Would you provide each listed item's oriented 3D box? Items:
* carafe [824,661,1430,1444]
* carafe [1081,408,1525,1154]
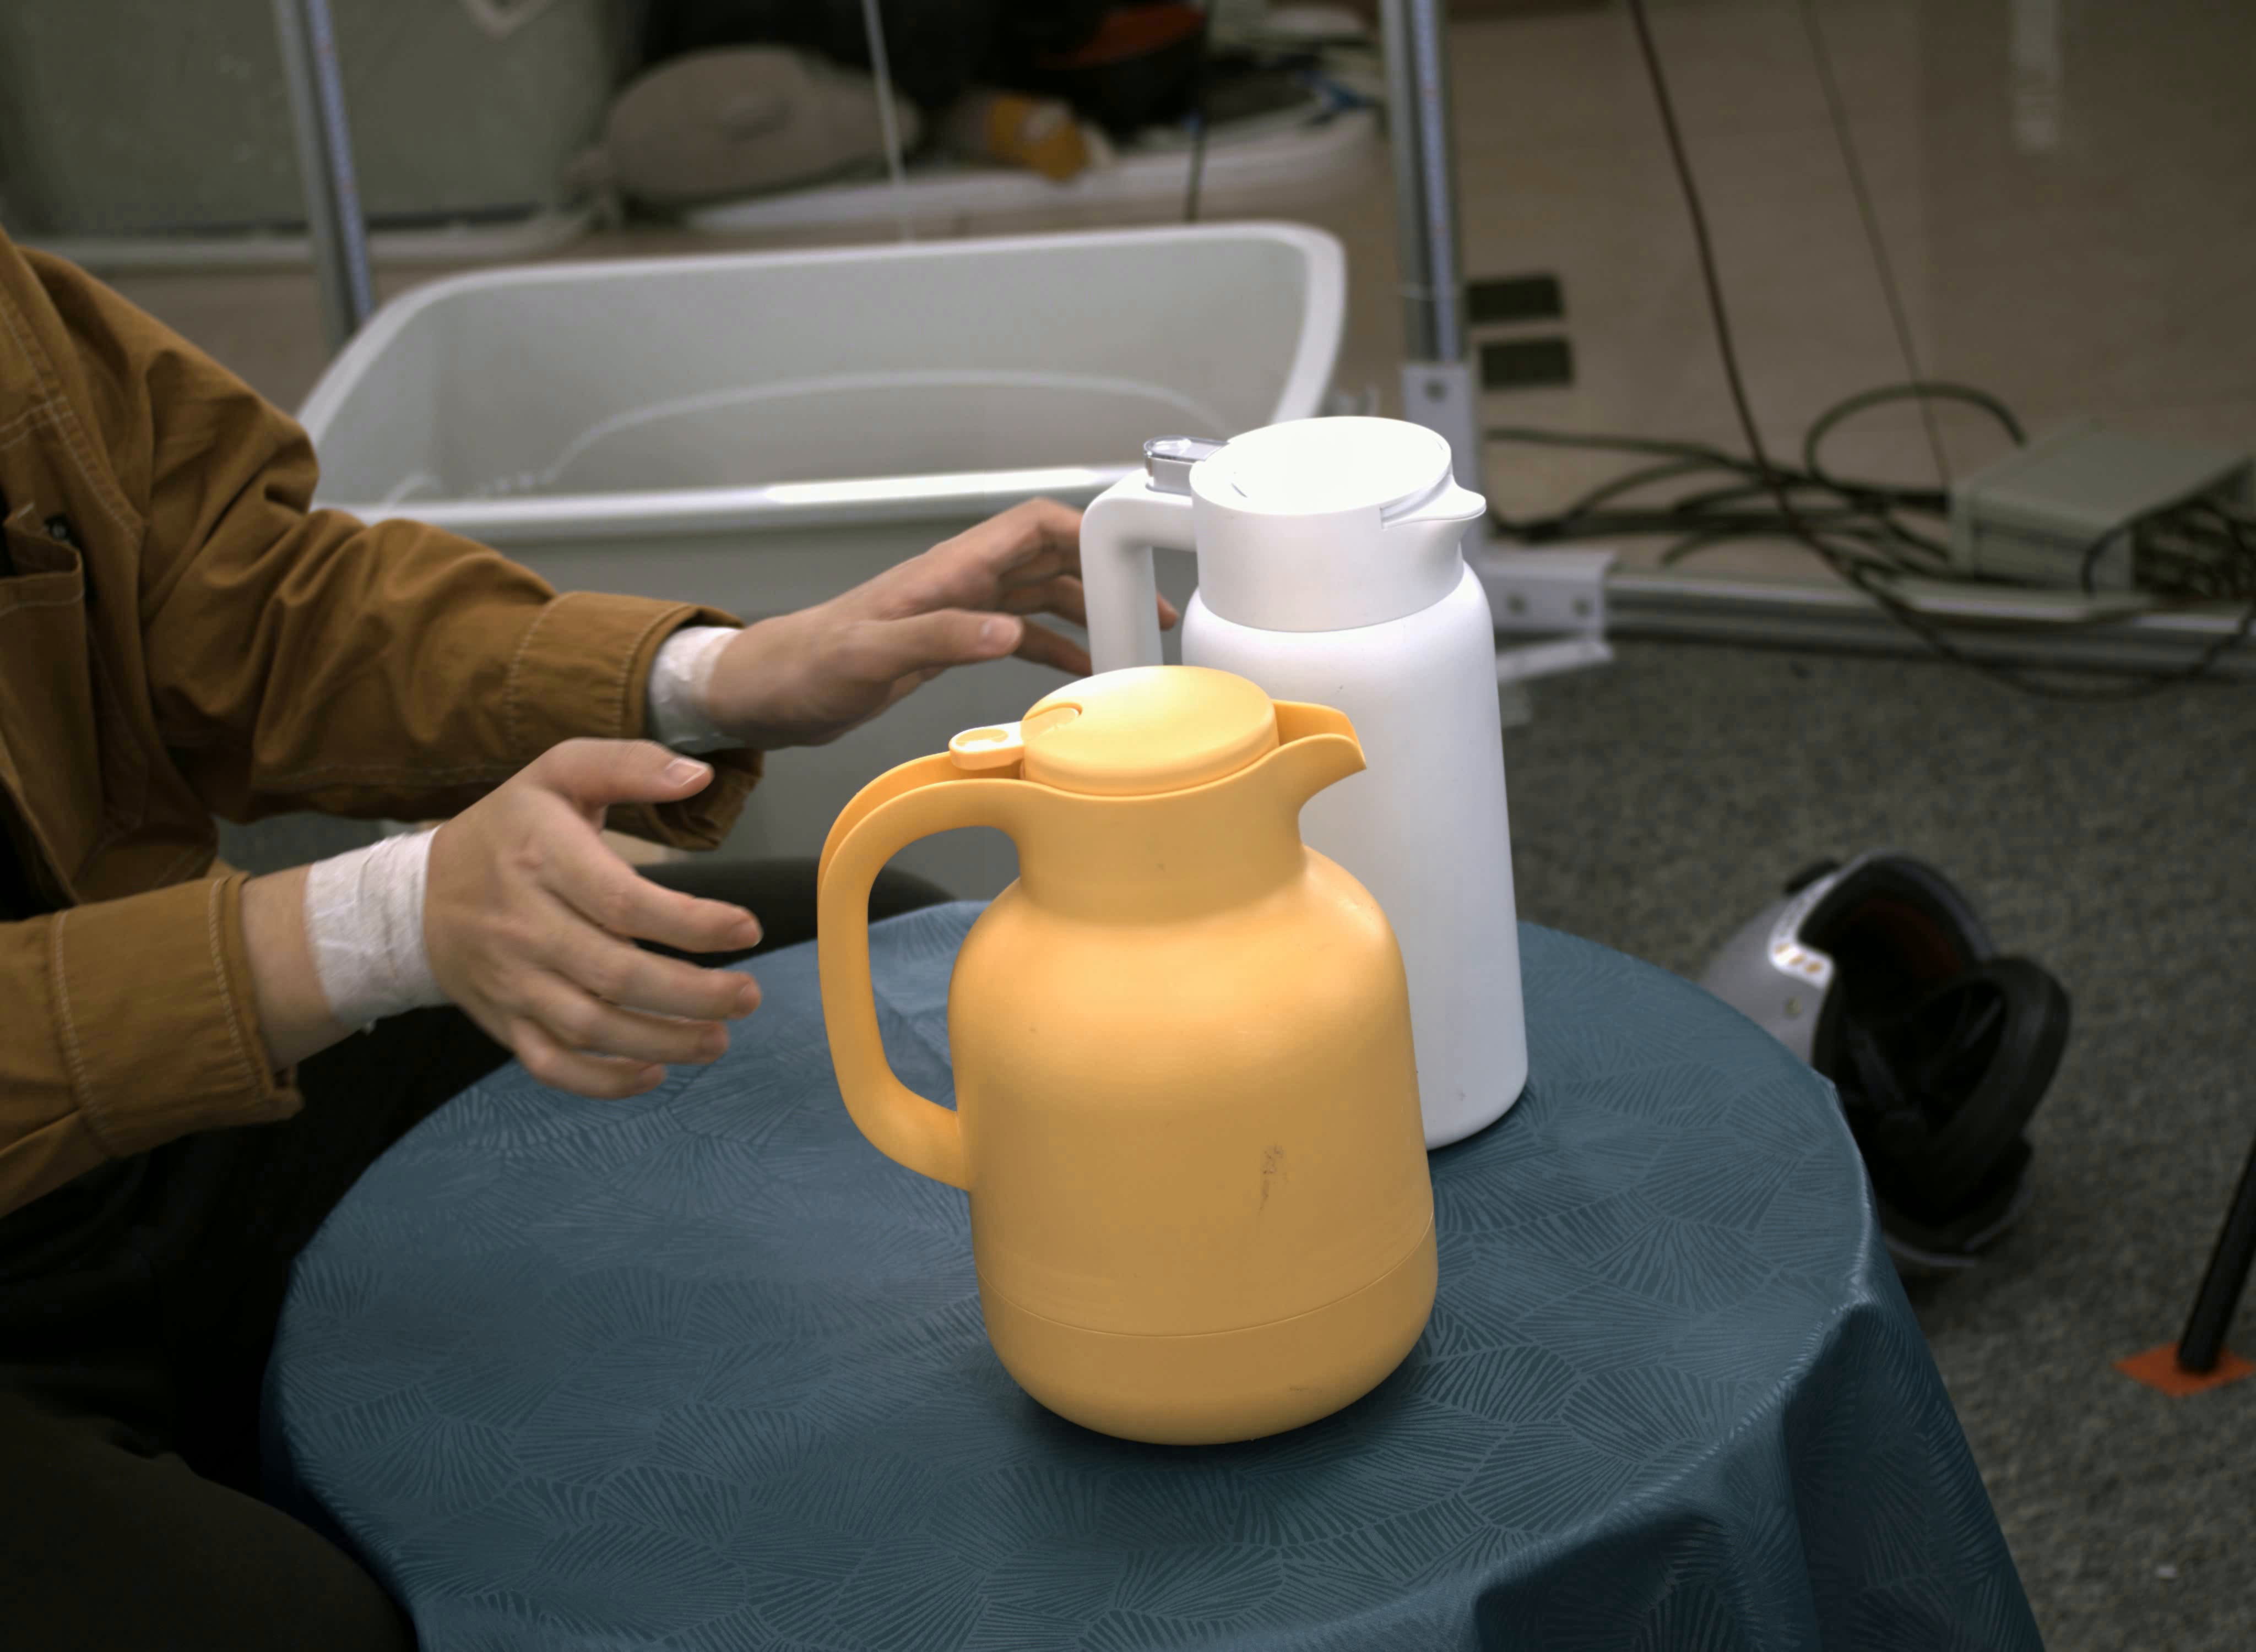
[{"bbox_3d":[-0.001,0.075,1.970,0.202,0.264,0.161,-5,23,1],"label":"carafe"},{"bbox_3d":[0.068,-0.017,2.146,0.172,0.273,0.122,10,32,30],"label":"carafe"}]
